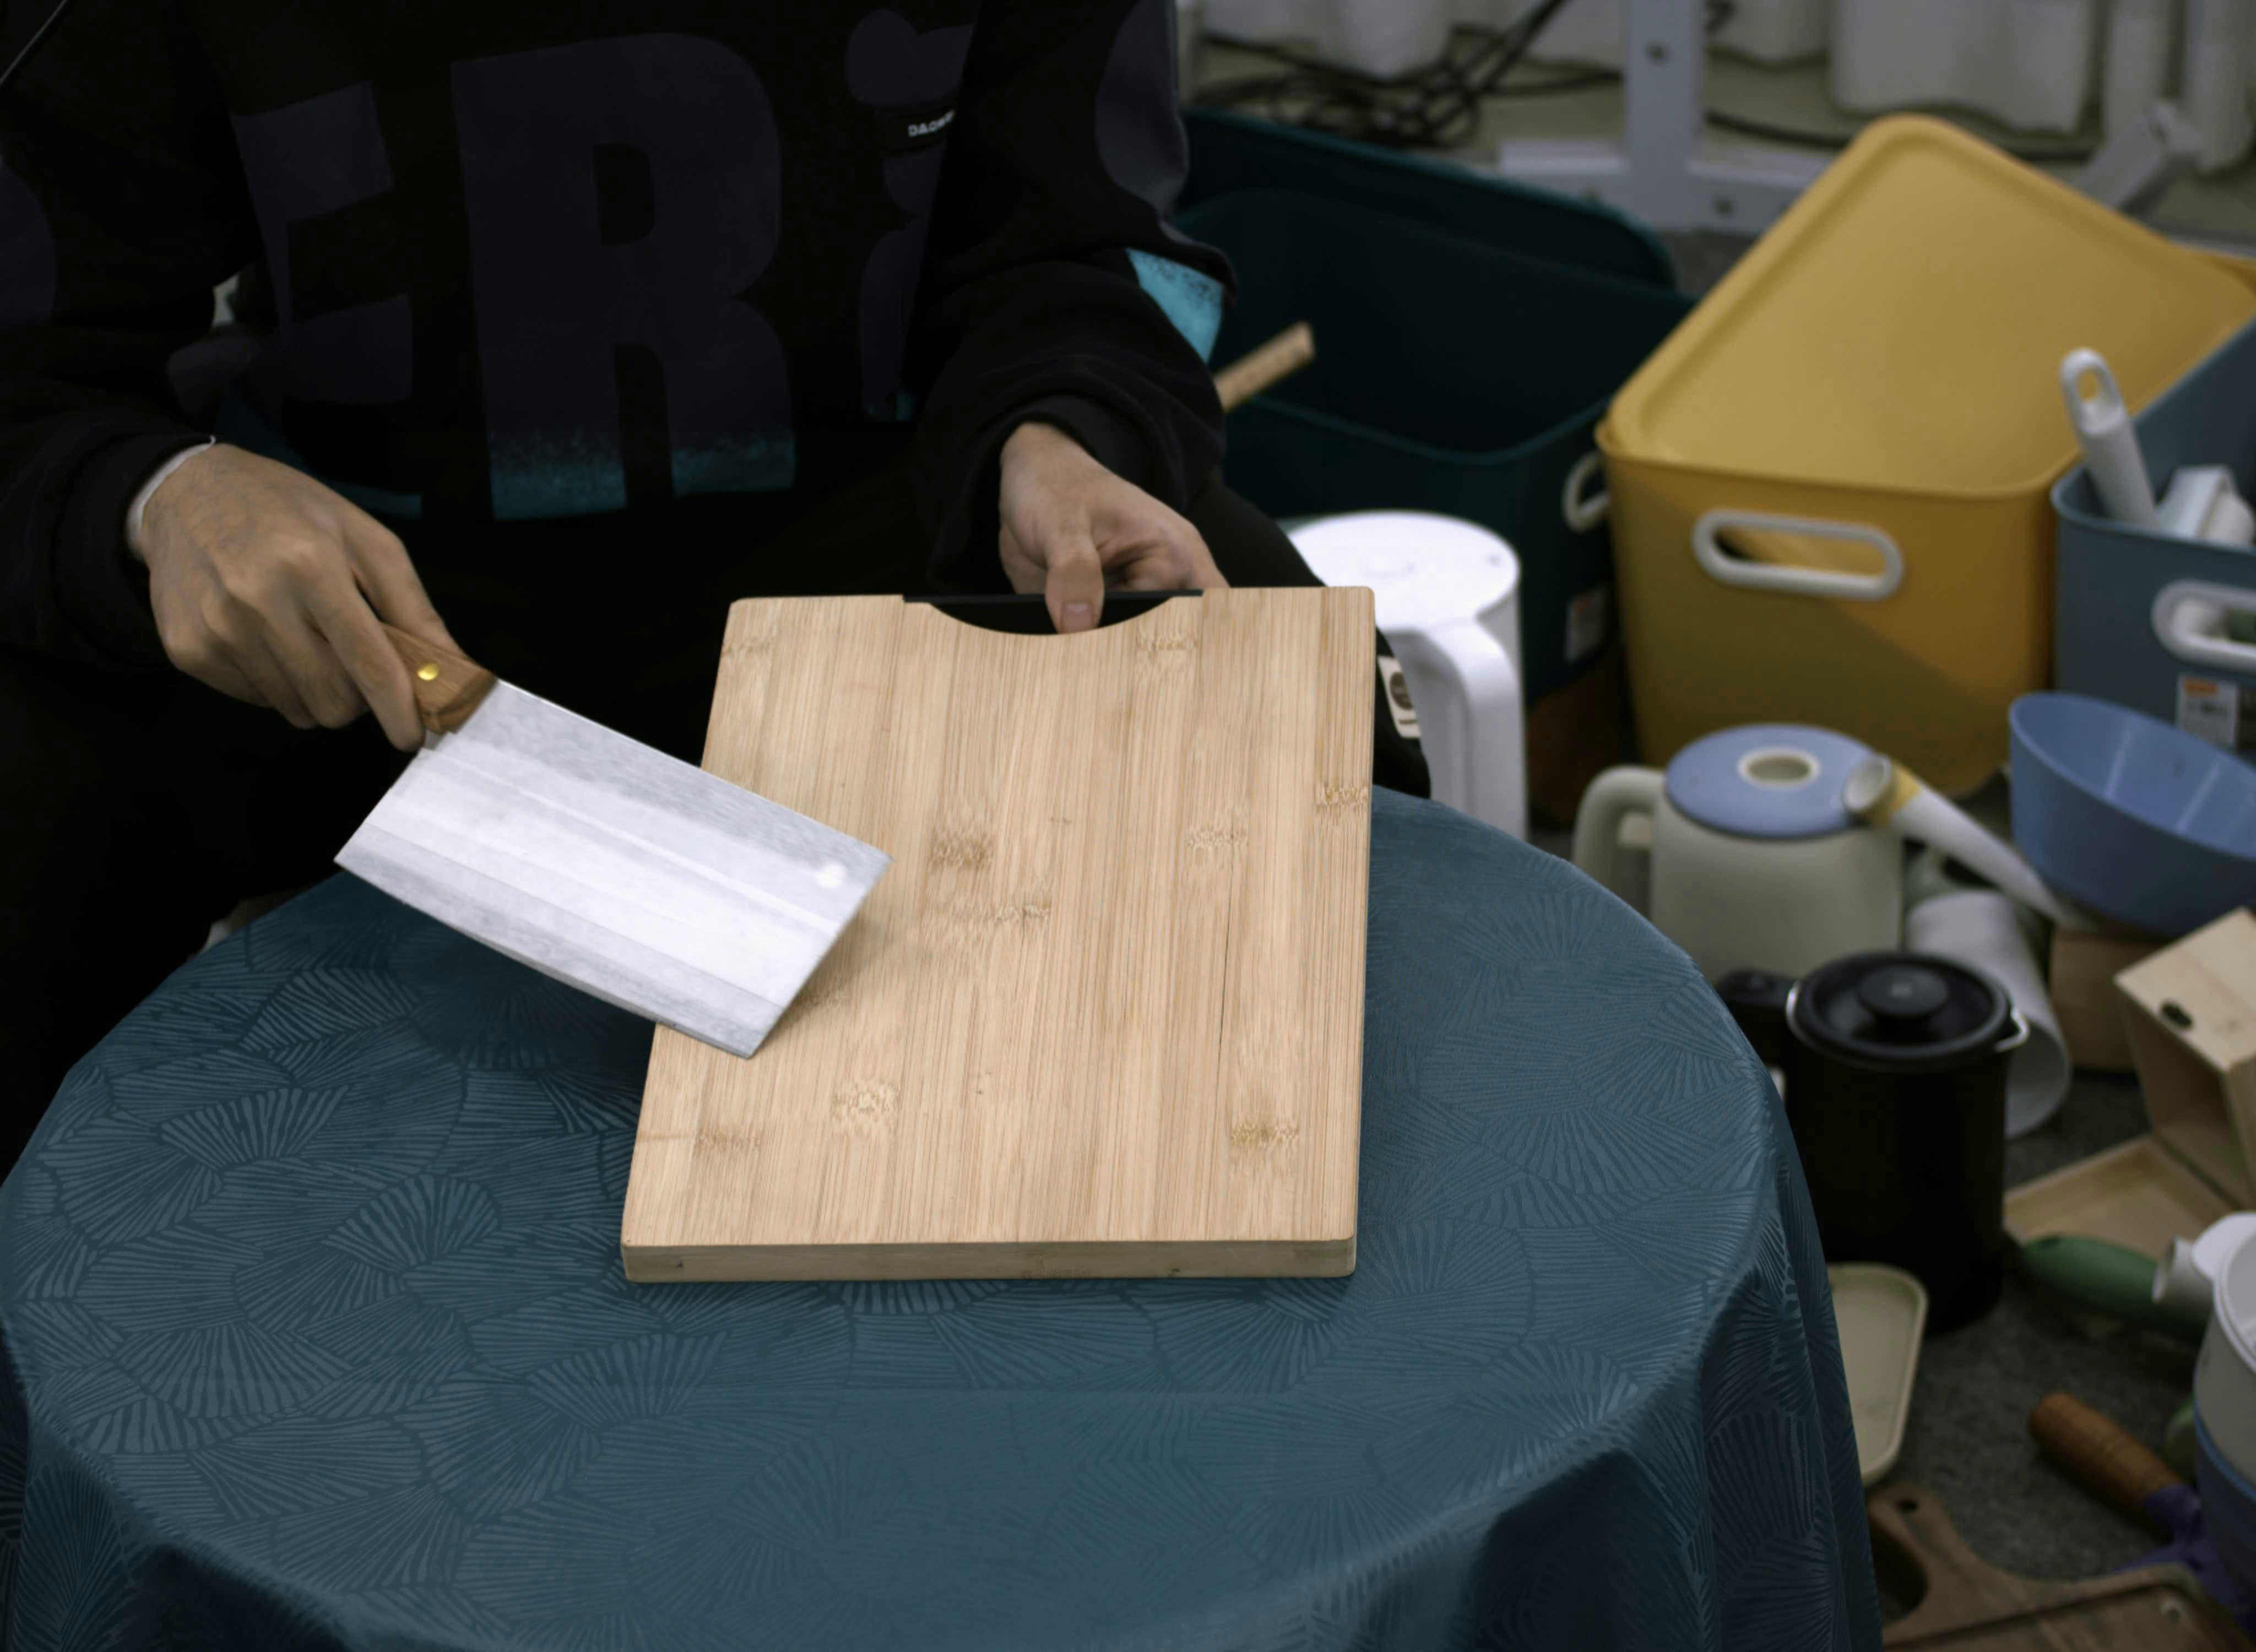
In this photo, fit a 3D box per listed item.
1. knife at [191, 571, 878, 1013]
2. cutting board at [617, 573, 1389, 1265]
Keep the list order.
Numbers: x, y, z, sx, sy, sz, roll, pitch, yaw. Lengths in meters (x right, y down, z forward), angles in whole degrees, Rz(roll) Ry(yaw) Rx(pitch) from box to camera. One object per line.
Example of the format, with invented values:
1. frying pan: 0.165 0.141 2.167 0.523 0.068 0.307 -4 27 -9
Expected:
1. knife: -0.225 -0.009 1.970 0.305 0.021 0.094 23 66 29
2. cutting board: -0.035 0.028 1.950 0.249 0.023 0.355 -1 40 4
